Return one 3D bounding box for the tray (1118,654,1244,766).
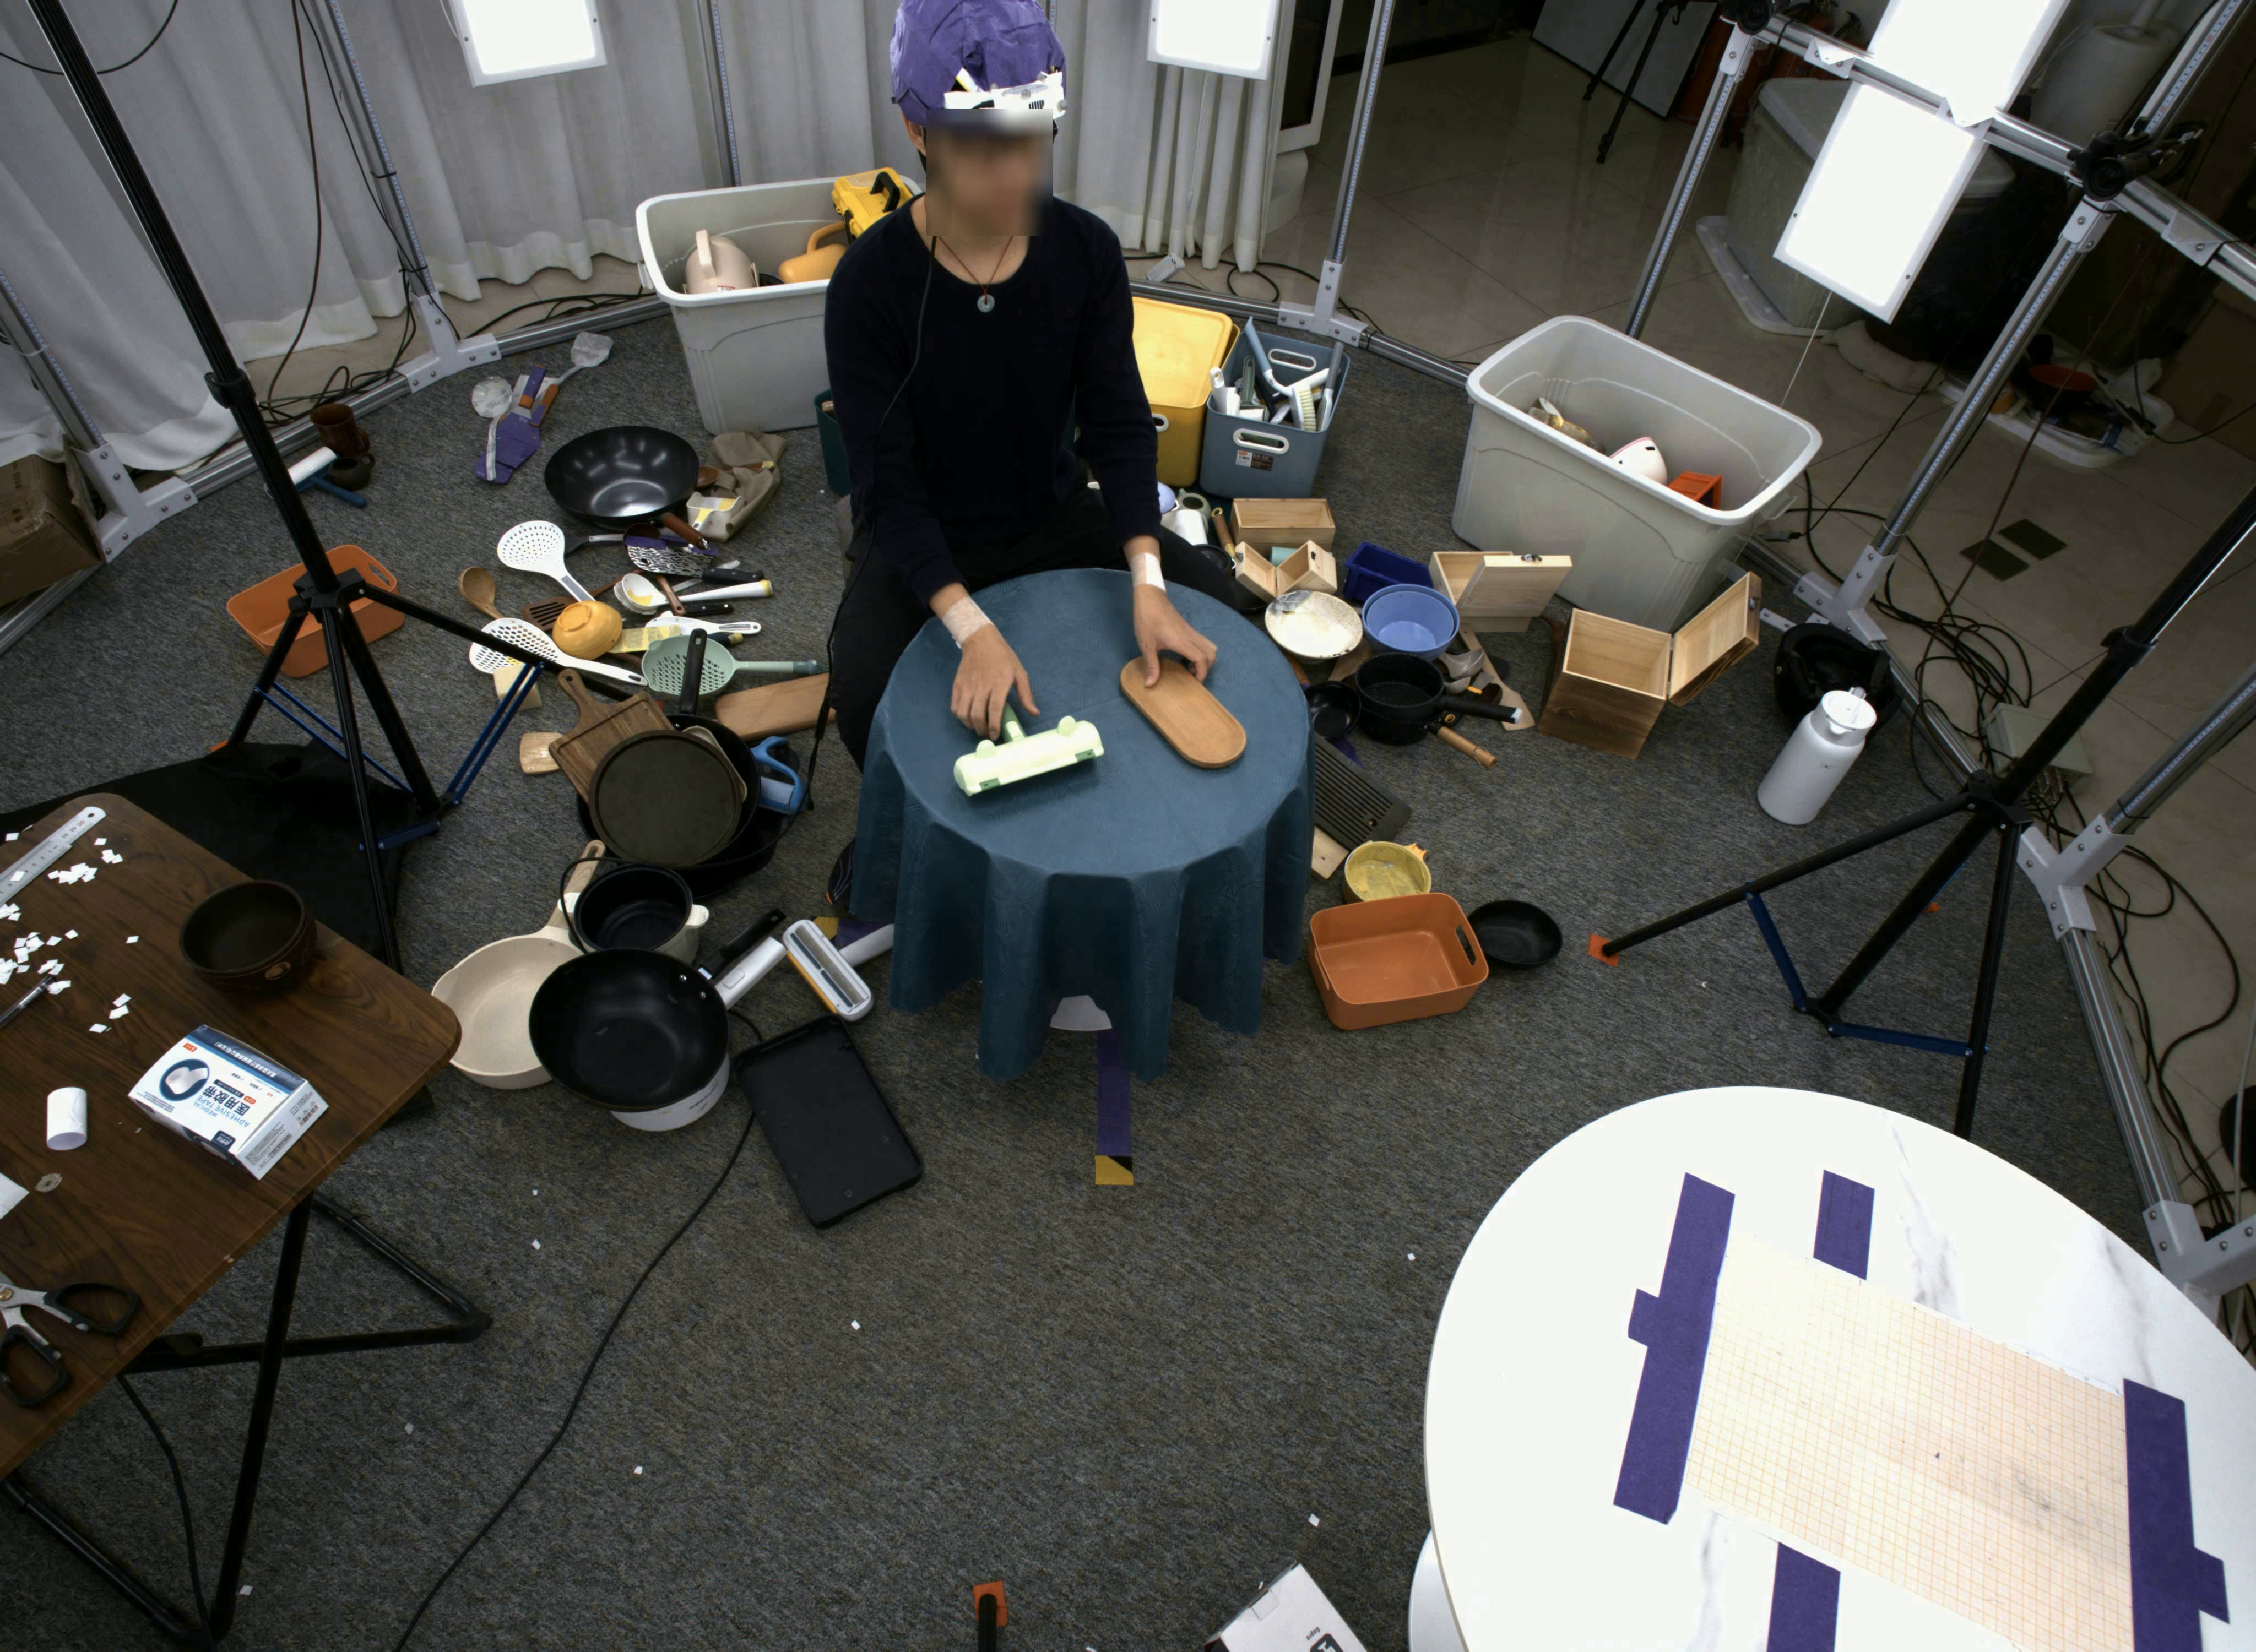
[{"bbox_3d":[0.073,-0.165,1.807,0.102,0.020,0.236,-25,54,-24],"label":"tray"}]

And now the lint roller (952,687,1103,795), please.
[{"bbox_3d":[-0.156,-0.138,1.722,0.199,0.080,0.187,-18,58,-20],"label":"lint roller"}]
